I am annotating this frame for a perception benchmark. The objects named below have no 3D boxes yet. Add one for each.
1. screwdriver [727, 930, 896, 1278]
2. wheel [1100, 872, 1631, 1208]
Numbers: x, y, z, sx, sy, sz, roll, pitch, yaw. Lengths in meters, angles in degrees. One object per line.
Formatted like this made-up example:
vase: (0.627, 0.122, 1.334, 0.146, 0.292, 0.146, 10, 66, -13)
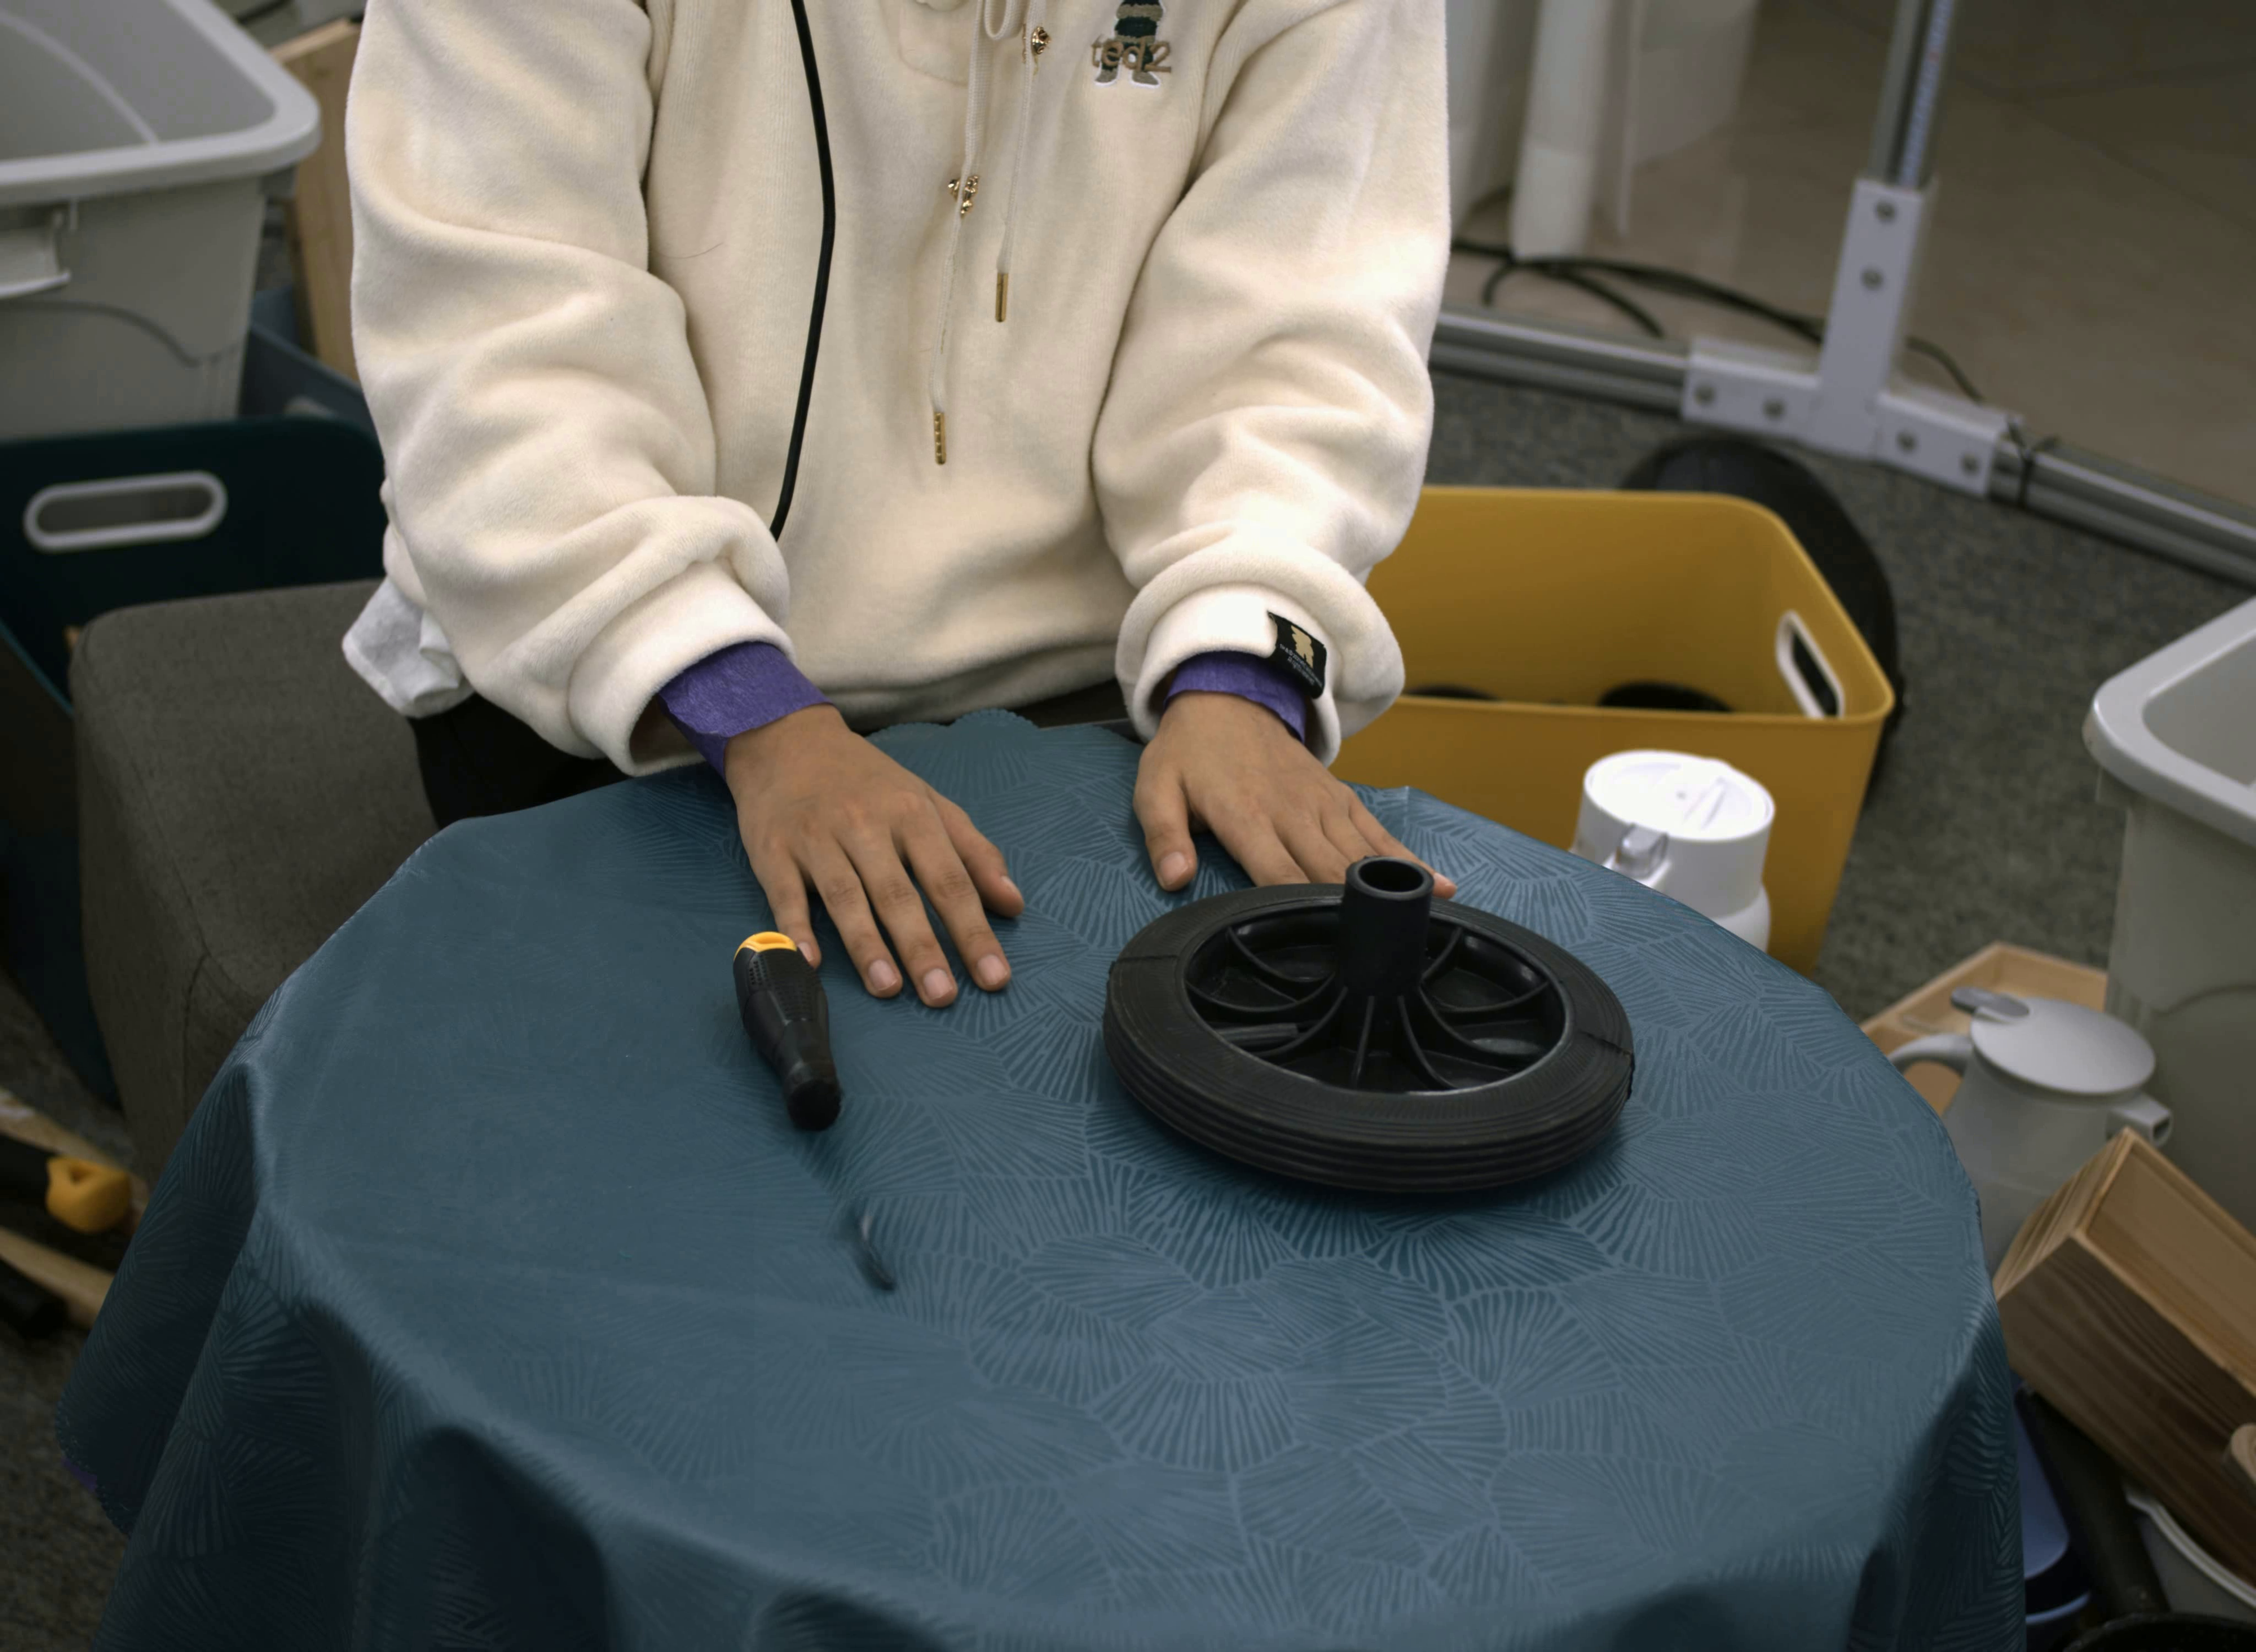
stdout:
screwdriver: (-0.108, 0.095, 1.808, 0.031, 0.031, 0.199, 0, 30, -15)
wheel: (0.085, 0.058, 1.868, 0.189, 0.079, 0.189, -21, 38, -38)
